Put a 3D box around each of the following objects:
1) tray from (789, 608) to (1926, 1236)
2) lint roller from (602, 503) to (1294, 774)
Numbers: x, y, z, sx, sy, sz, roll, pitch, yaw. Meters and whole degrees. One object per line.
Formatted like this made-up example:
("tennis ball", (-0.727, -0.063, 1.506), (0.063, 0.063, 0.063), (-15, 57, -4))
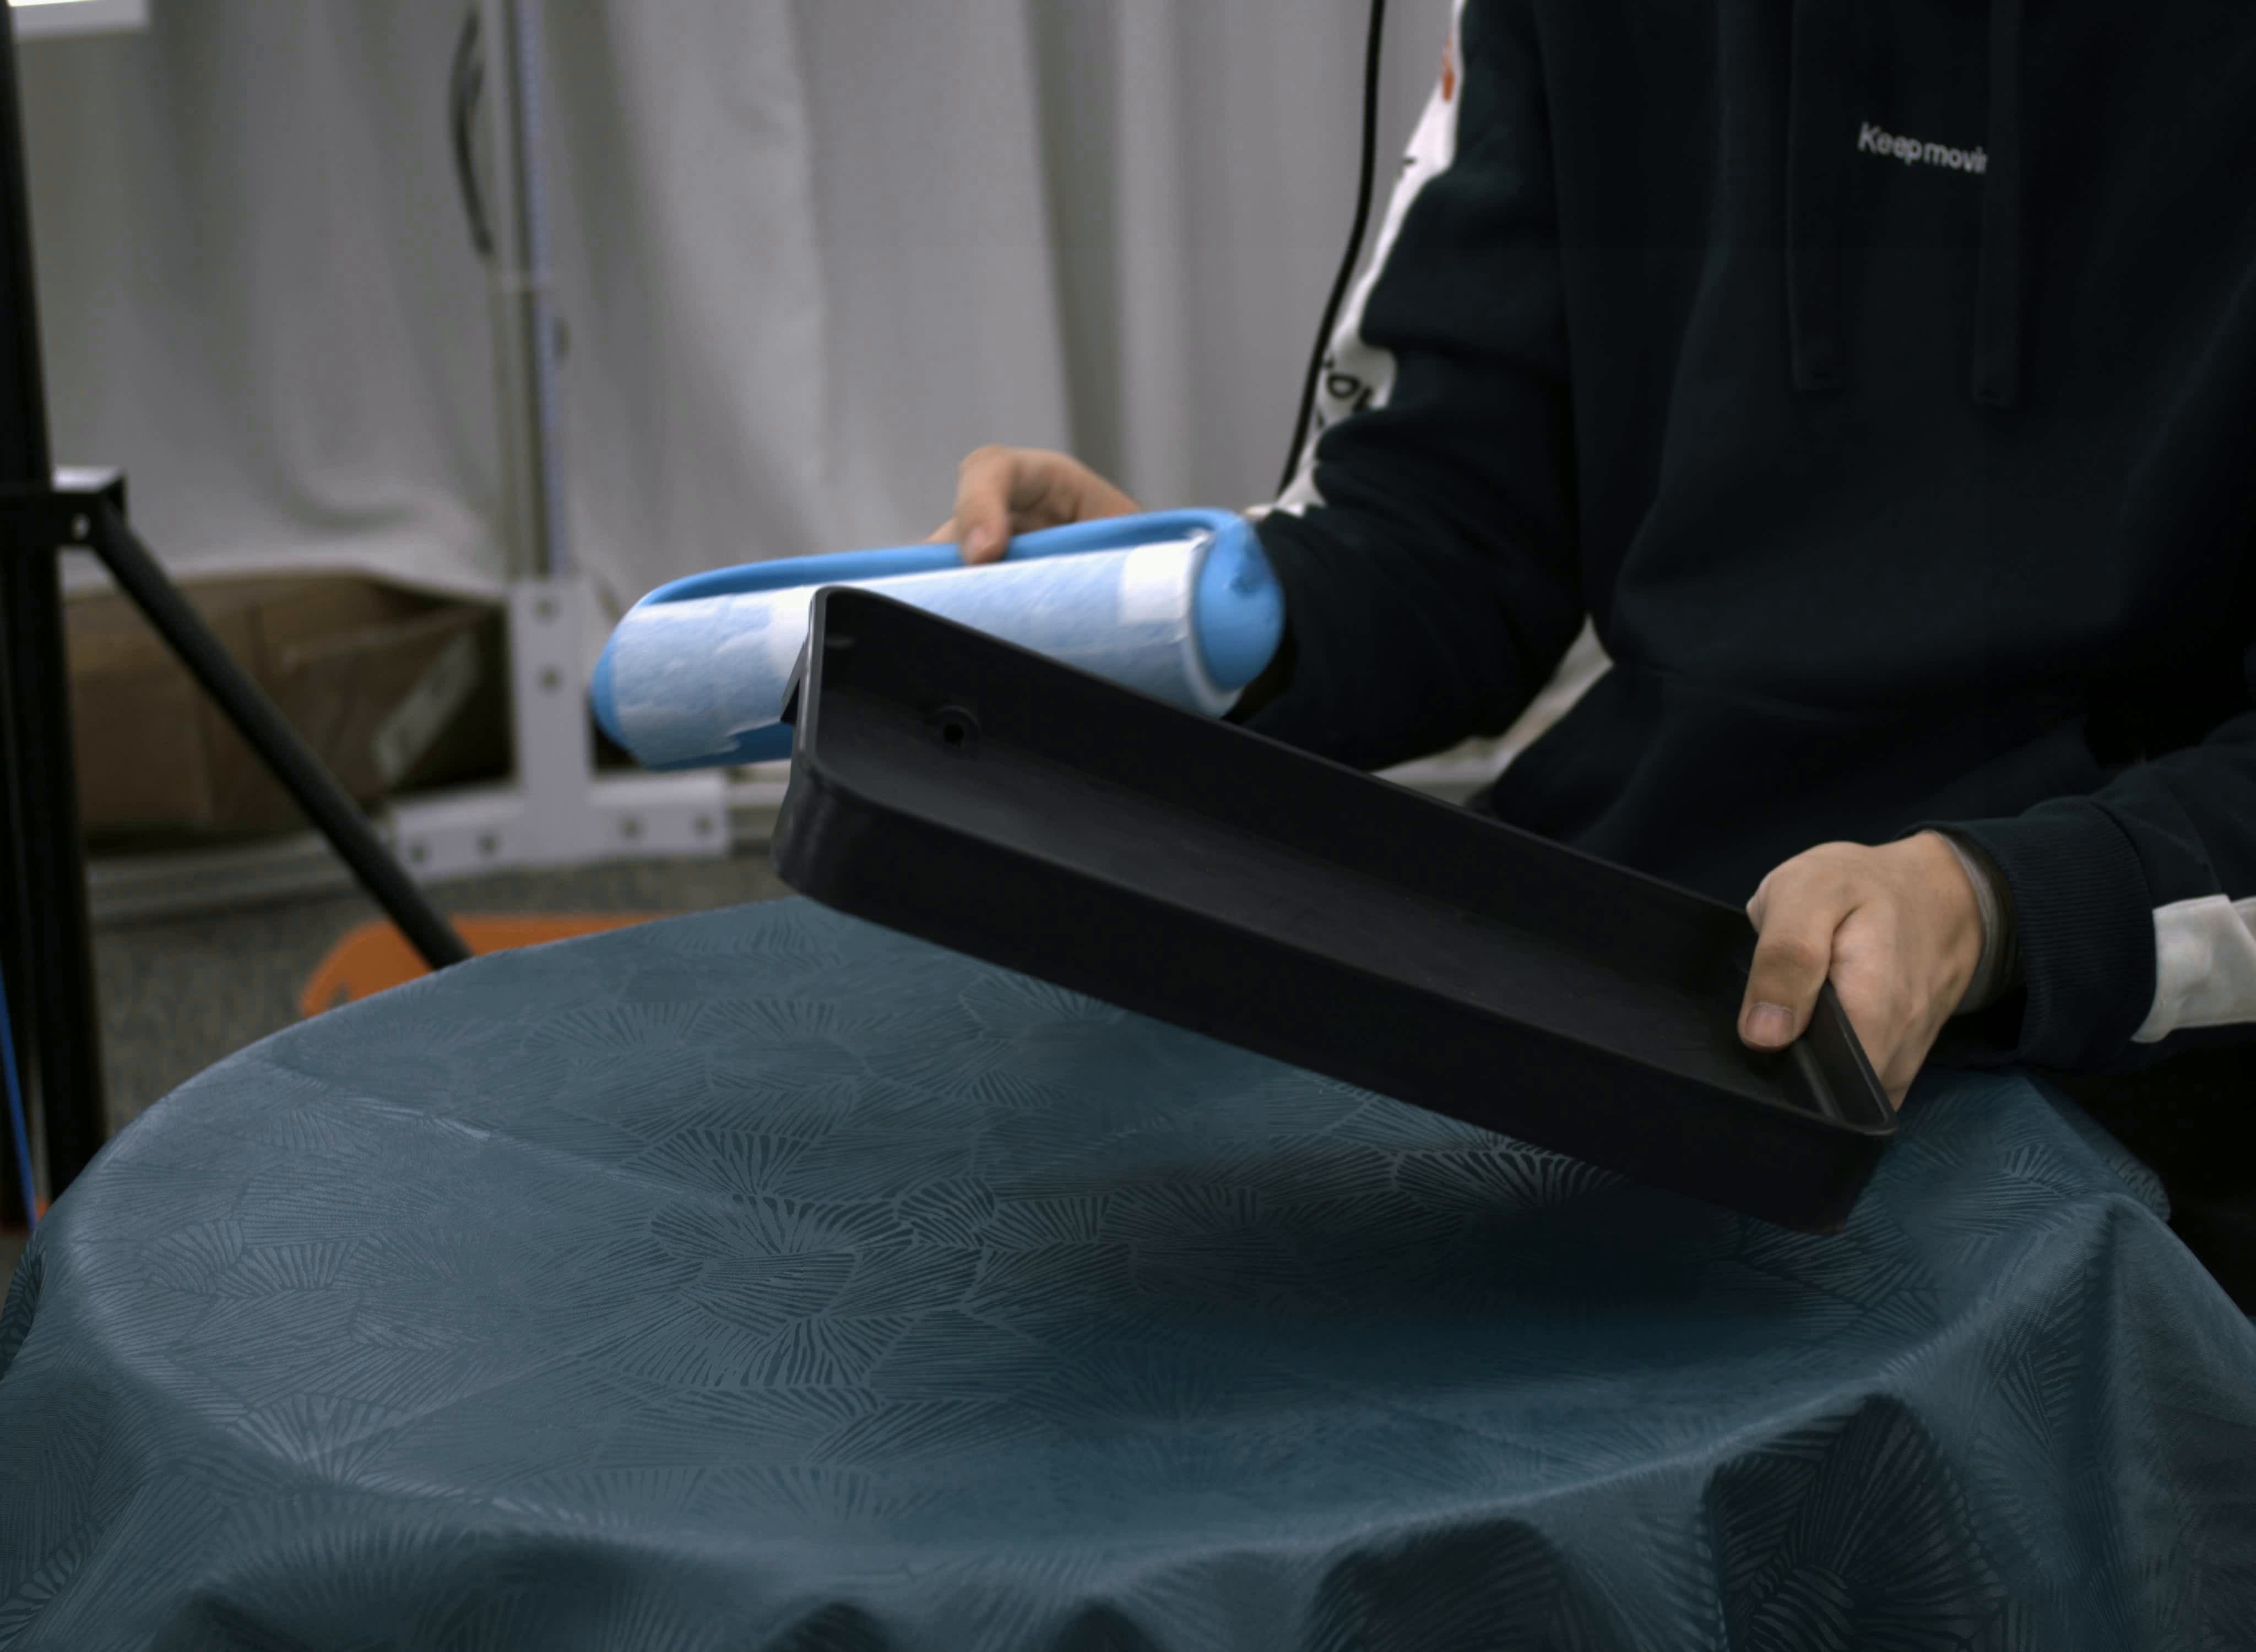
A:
("tray", (0.058, 0.025, 1.484), (0.315, 0.037, 0.185), (18, 16, -7))
("lint roller", (-0.039, -0.061, 1.693), (0.231, 0.068, 0.178), (-8, 4, 21))
